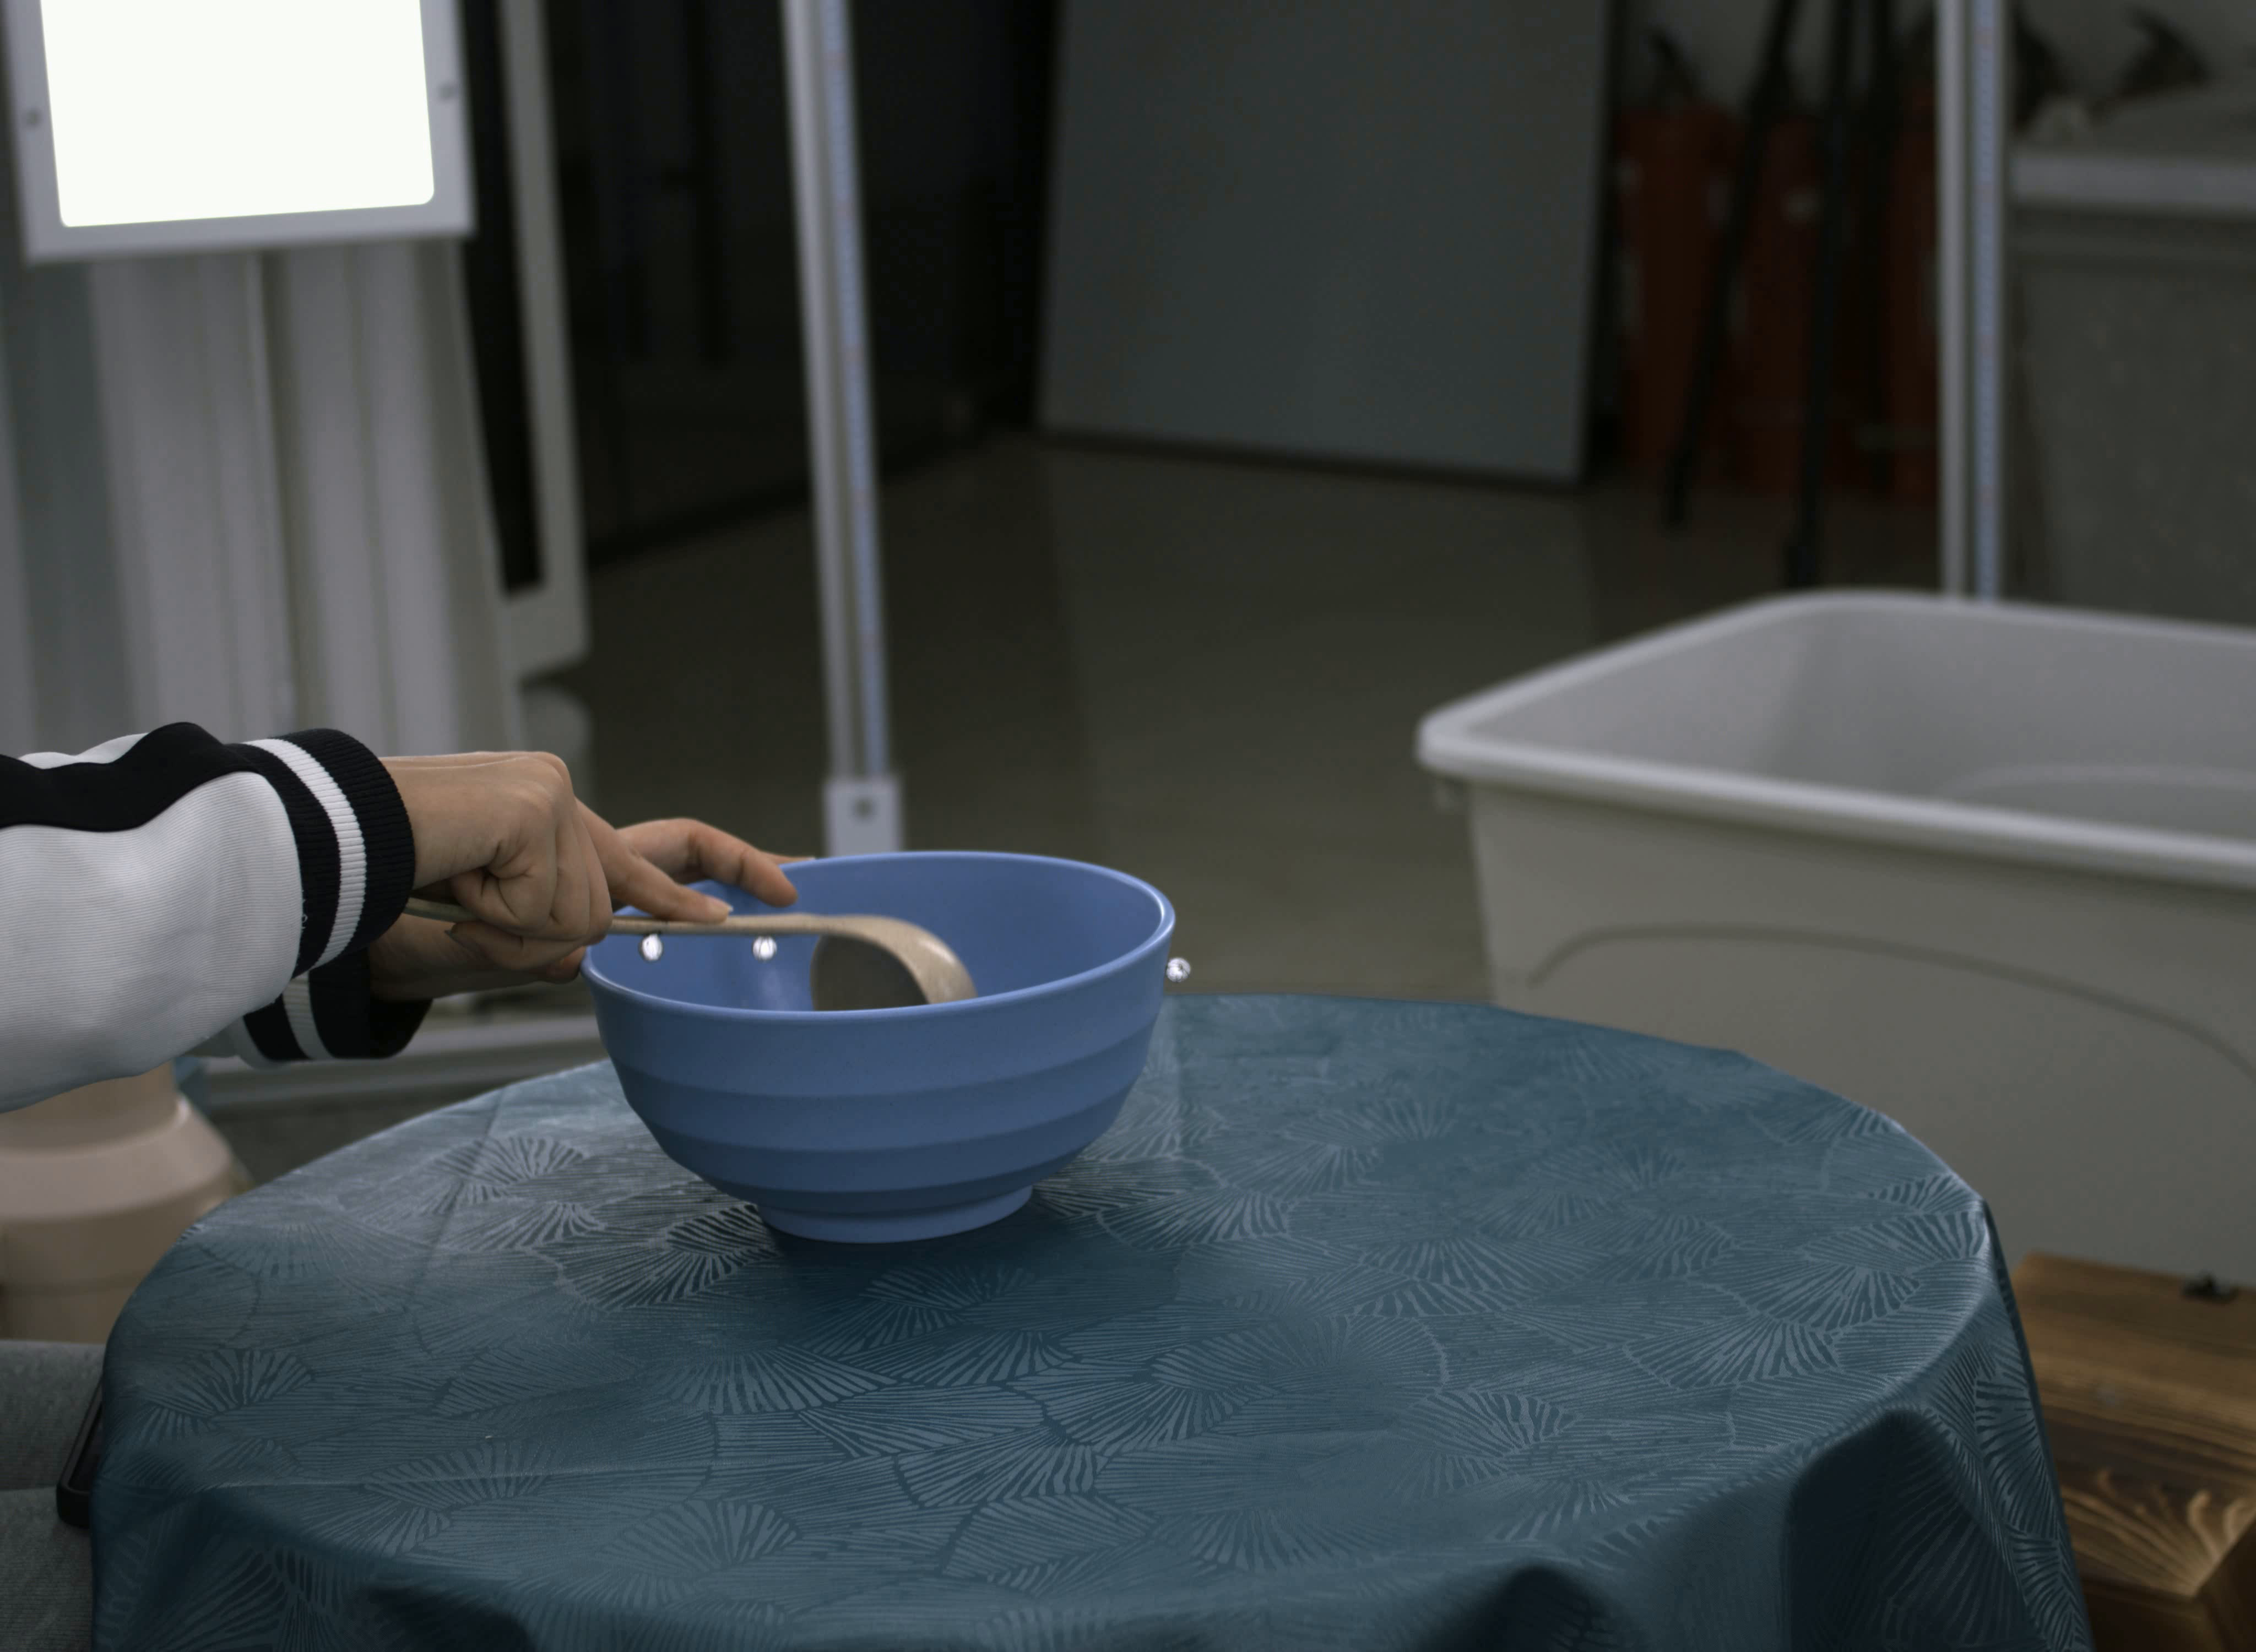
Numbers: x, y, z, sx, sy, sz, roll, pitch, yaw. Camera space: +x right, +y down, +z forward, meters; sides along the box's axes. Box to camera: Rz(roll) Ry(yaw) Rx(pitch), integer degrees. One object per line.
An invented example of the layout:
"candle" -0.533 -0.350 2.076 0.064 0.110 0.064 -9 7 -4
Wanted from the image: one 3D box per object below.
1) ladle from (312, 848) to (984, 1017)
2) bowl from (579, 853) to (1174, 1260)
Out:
"ladle" -0.154 0.055 1.709 0.248 0.074 0.073 7 6 -38
"bowl" -0.079 0.082 1.768 0.194 0.096 0.197 -4 15 0
